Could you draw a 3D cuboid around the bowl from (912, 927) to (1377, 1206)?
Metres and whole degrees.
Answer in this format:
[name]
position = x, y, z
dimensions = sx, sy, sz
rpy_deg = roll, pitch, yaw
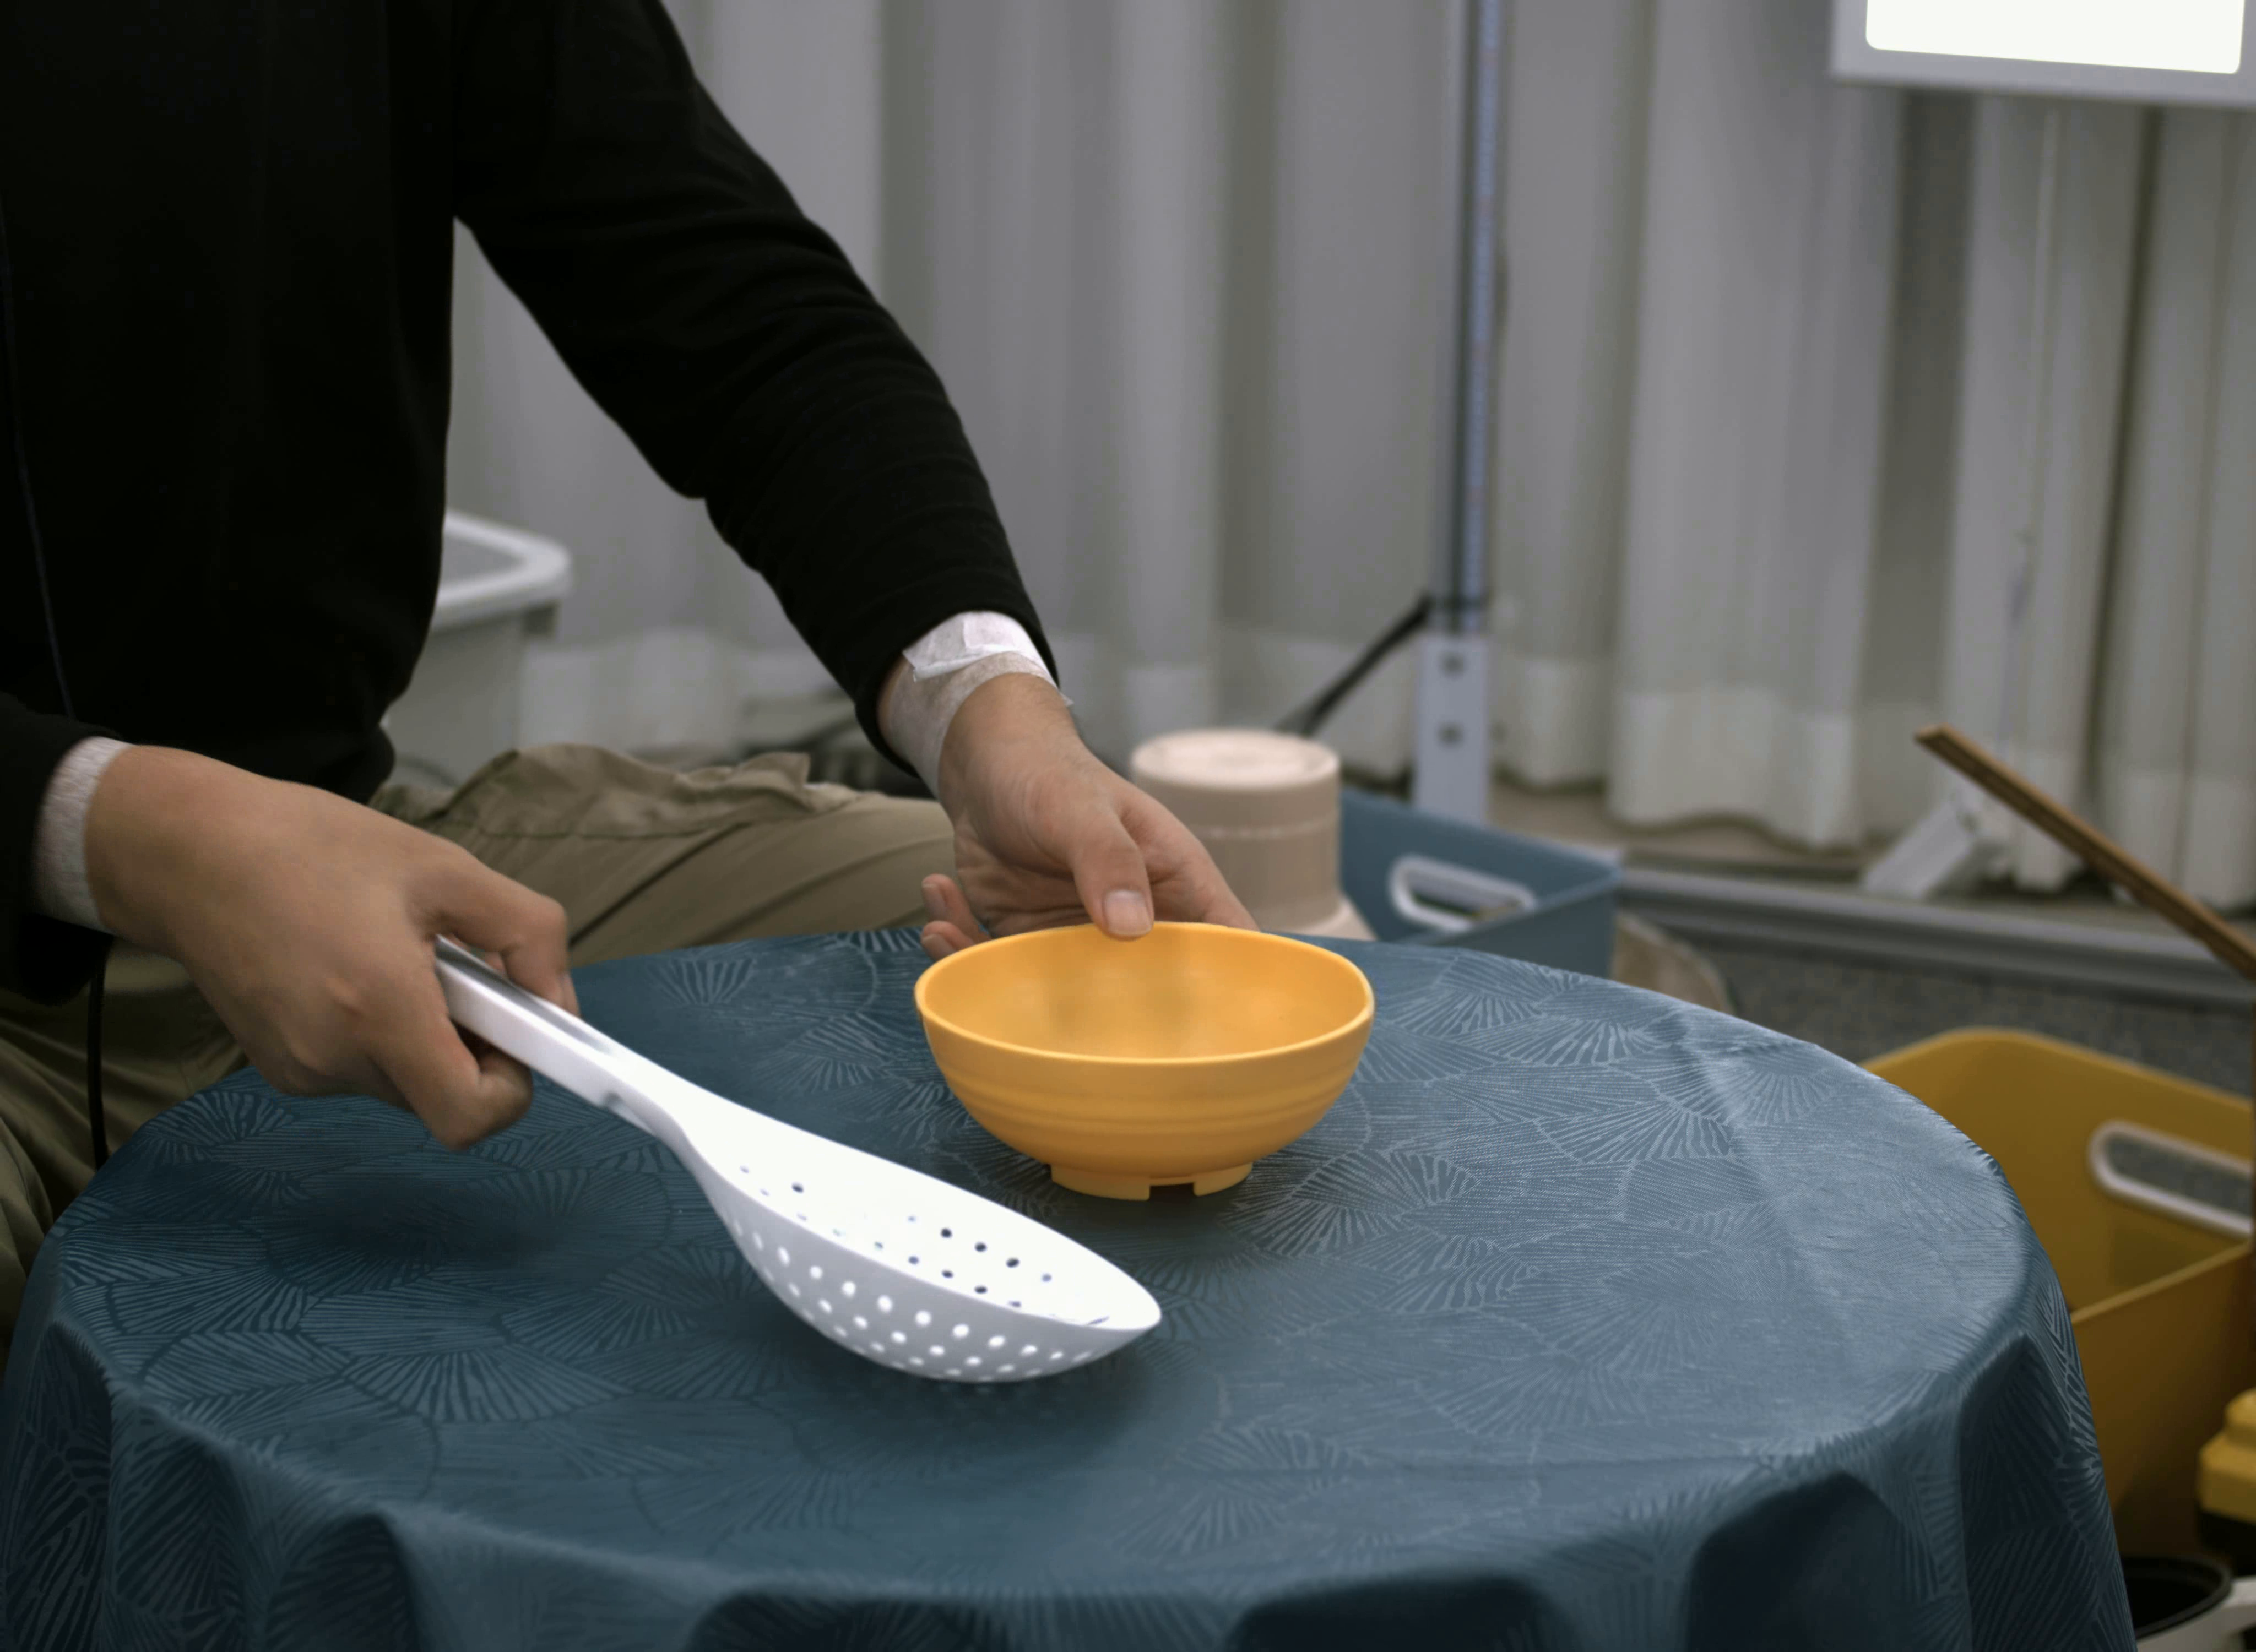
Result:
[bowl]
position = 0.004, 0.079, 1.635
dimensions = 0.145, 0.060, 0.144
rpy_deg = 2, 15, 0

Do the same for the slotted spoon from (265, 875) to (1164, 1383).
[slotted spoon]
position = -0.134, 0.081, 1.522
dimensions = 0.345, 0.046, 0.137
rpy_deg = 31, 12, 35
